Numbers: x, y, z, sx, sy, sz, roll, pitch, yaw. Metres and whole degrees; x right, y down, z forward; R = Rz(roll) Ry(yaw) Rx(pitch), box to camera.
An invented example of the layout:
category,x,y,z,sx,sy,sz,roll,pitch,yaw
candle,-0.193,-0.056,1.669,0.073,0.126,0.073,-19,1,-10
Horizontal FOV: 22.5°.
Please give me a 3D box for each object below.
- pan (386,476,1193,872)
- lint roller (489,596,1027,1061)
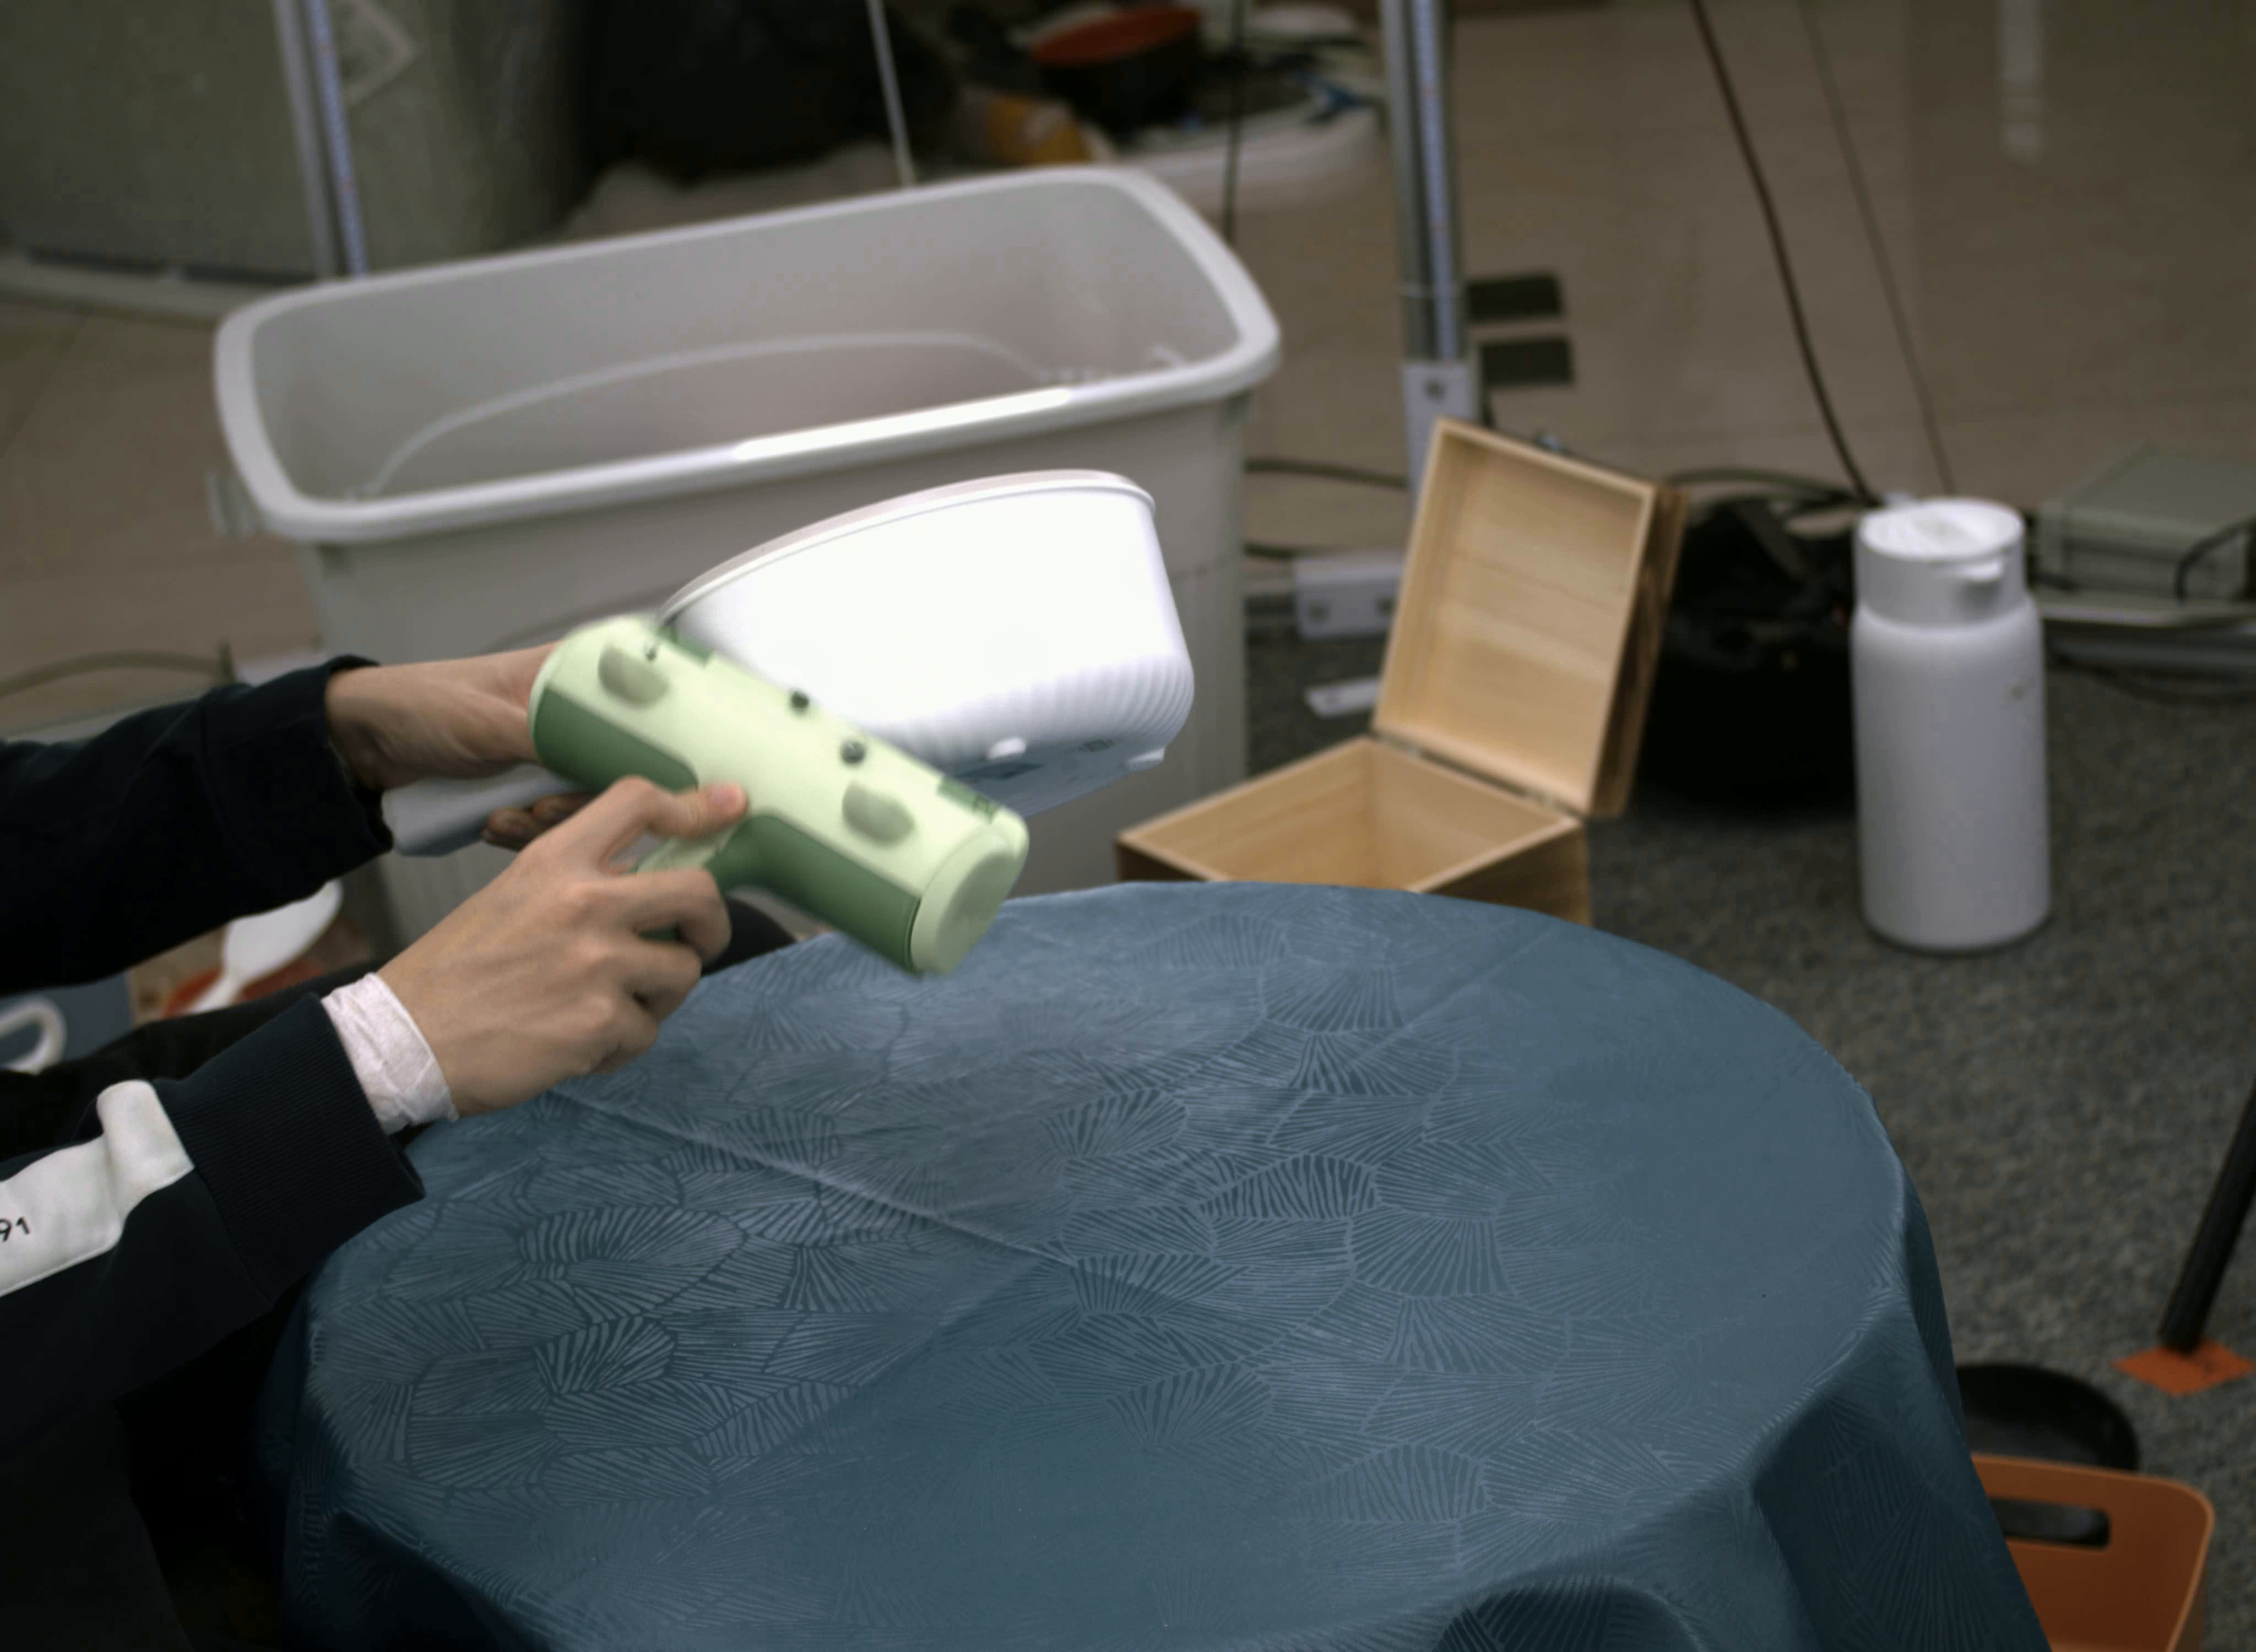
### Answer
category,x,y,z,sx,sy,sz,roll,pitch,yaw
pan,-0.137,-0.026,2.199,0.356,0.101,0.201,-23,-11,29
lint roller,-0.165,0.006,2.018,0.197,0.084,0.181,30,52,24
